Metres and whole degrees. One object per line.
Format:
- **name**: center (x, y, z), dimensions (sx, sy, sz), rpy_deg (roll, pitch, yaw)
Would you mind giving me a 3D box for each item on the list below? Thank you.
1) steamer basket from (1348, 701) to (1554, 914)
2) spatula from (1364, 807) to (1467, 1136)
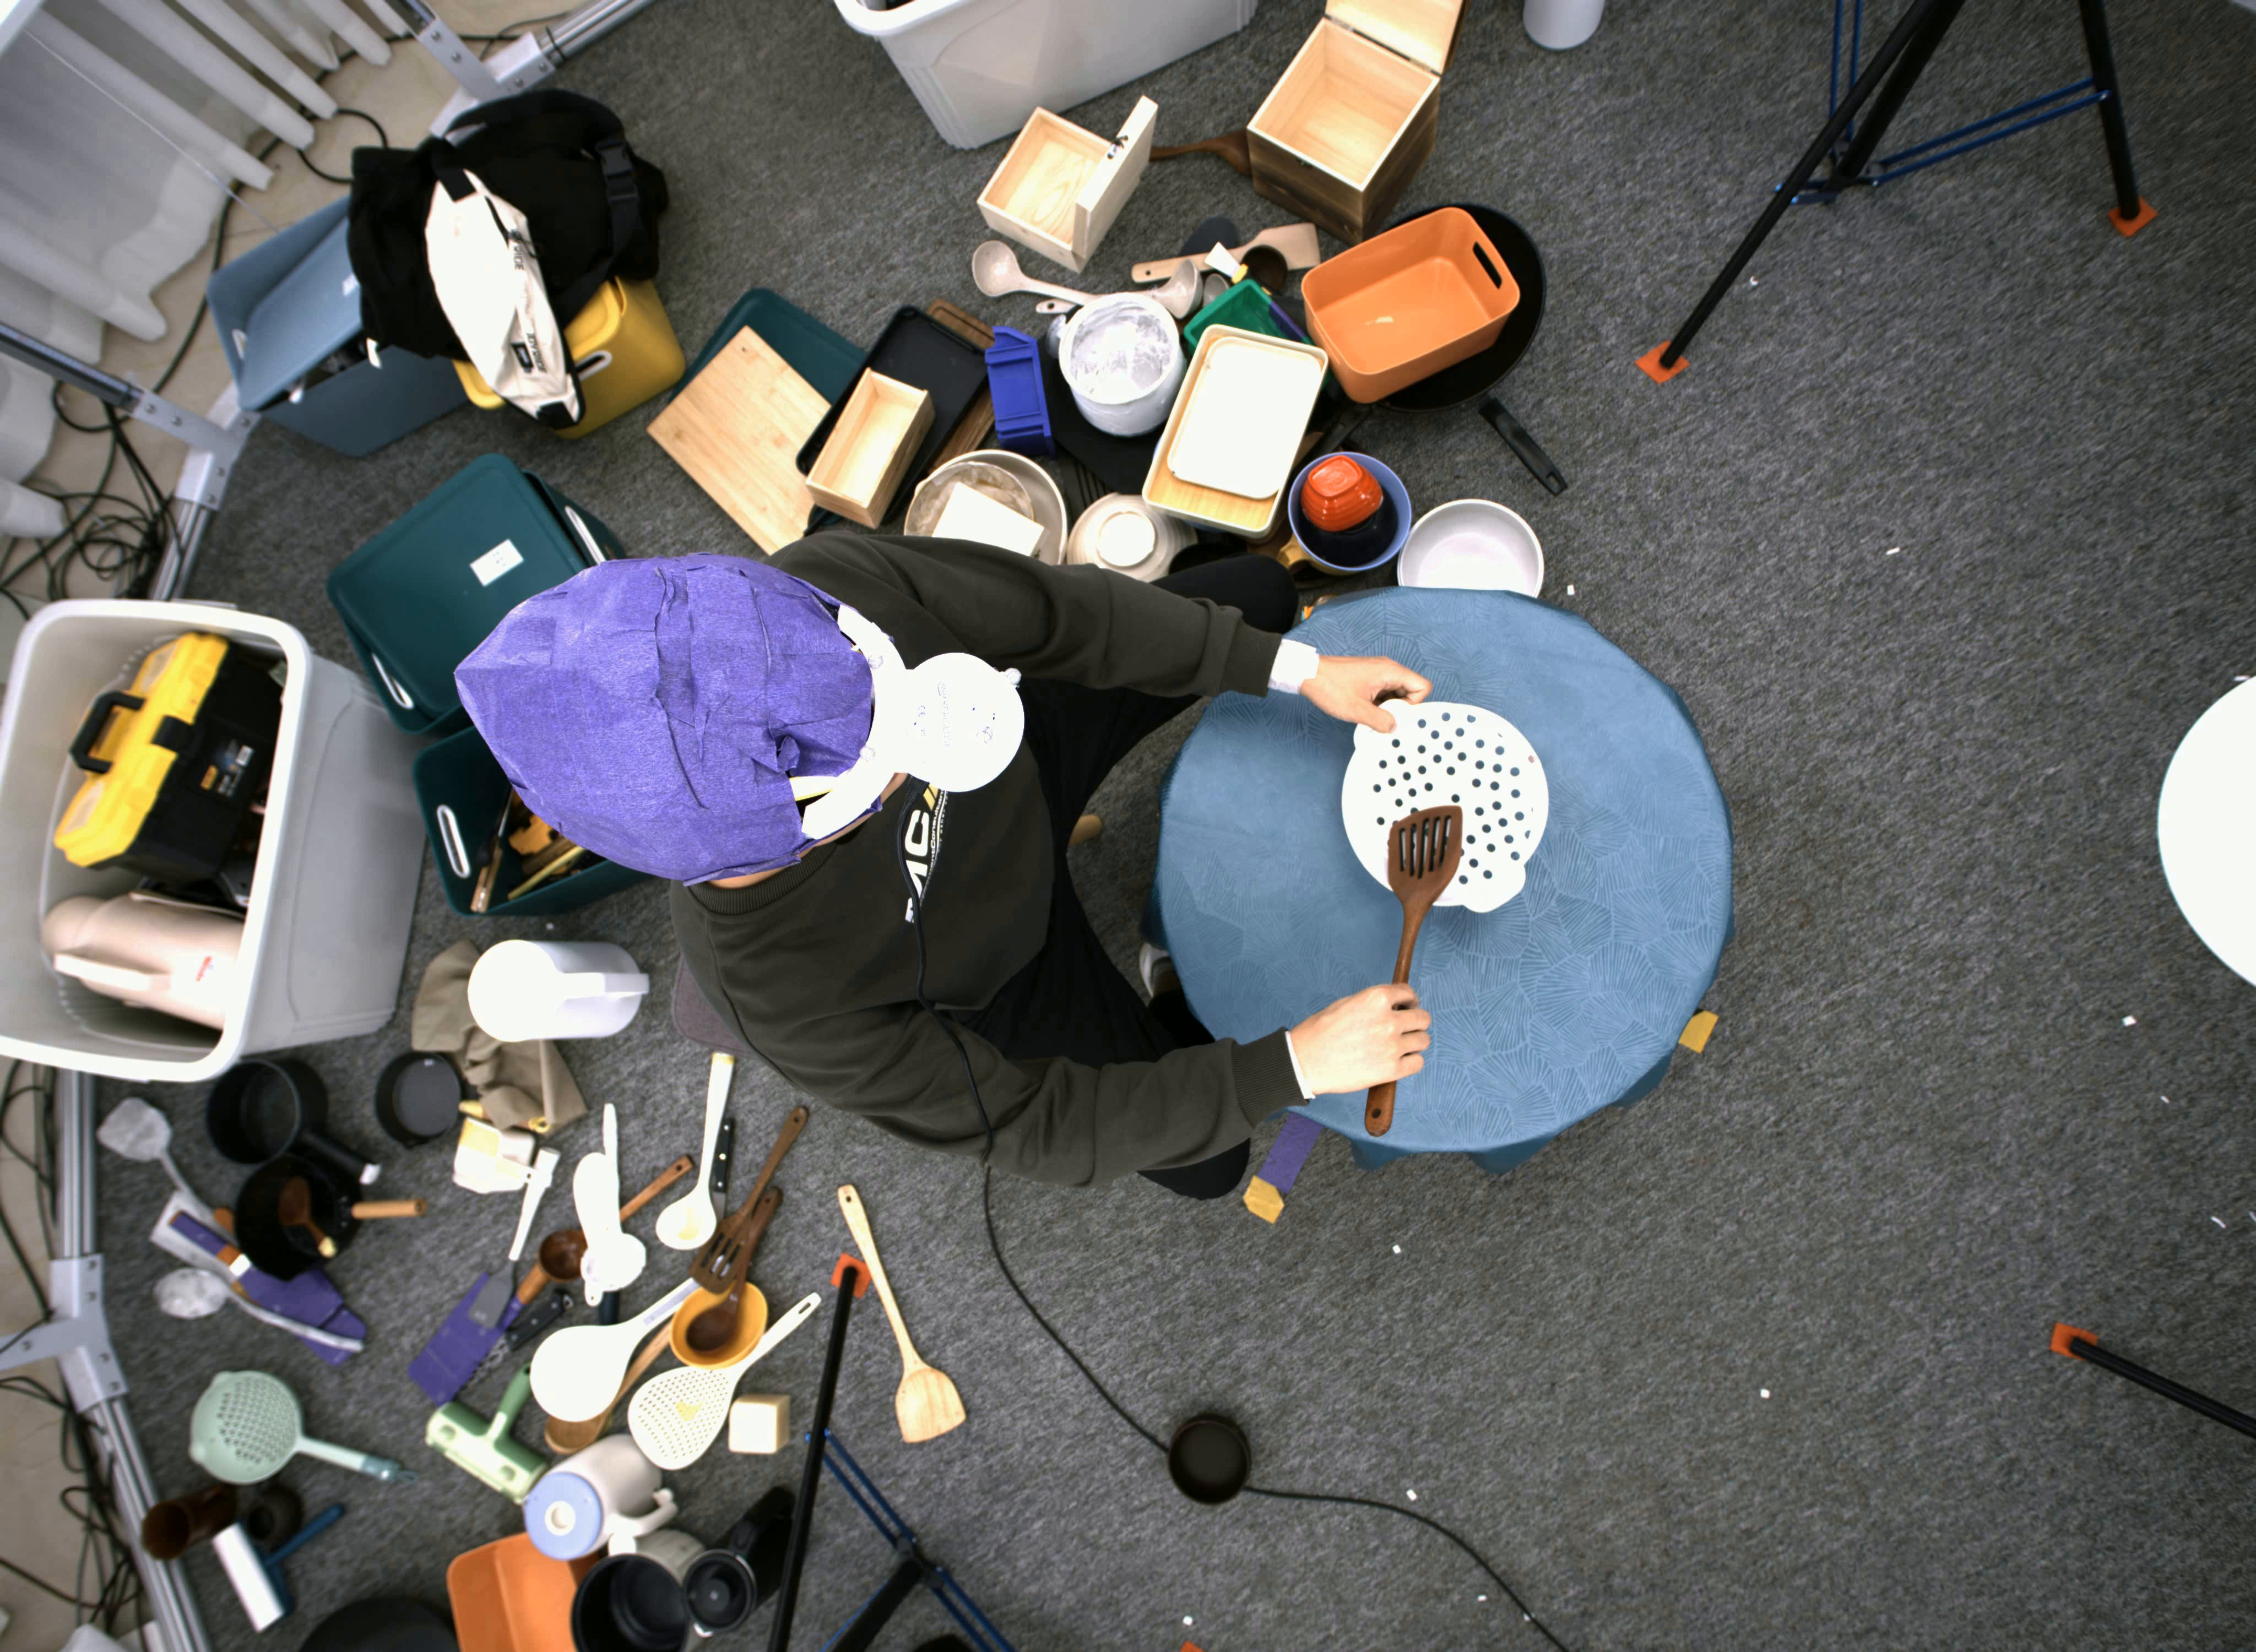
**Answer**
- **steamer basket**: center (0.325, -0.022, 1.380), dimensions (0.206, 0.068, 0.228), rpy_deg (-39, 74, 30)
- **spatula**: center (0.263, 0.124, 1.294), dimensions (0.087, 0.375, 0.024), rpy_deg (-16, 128, 36)
